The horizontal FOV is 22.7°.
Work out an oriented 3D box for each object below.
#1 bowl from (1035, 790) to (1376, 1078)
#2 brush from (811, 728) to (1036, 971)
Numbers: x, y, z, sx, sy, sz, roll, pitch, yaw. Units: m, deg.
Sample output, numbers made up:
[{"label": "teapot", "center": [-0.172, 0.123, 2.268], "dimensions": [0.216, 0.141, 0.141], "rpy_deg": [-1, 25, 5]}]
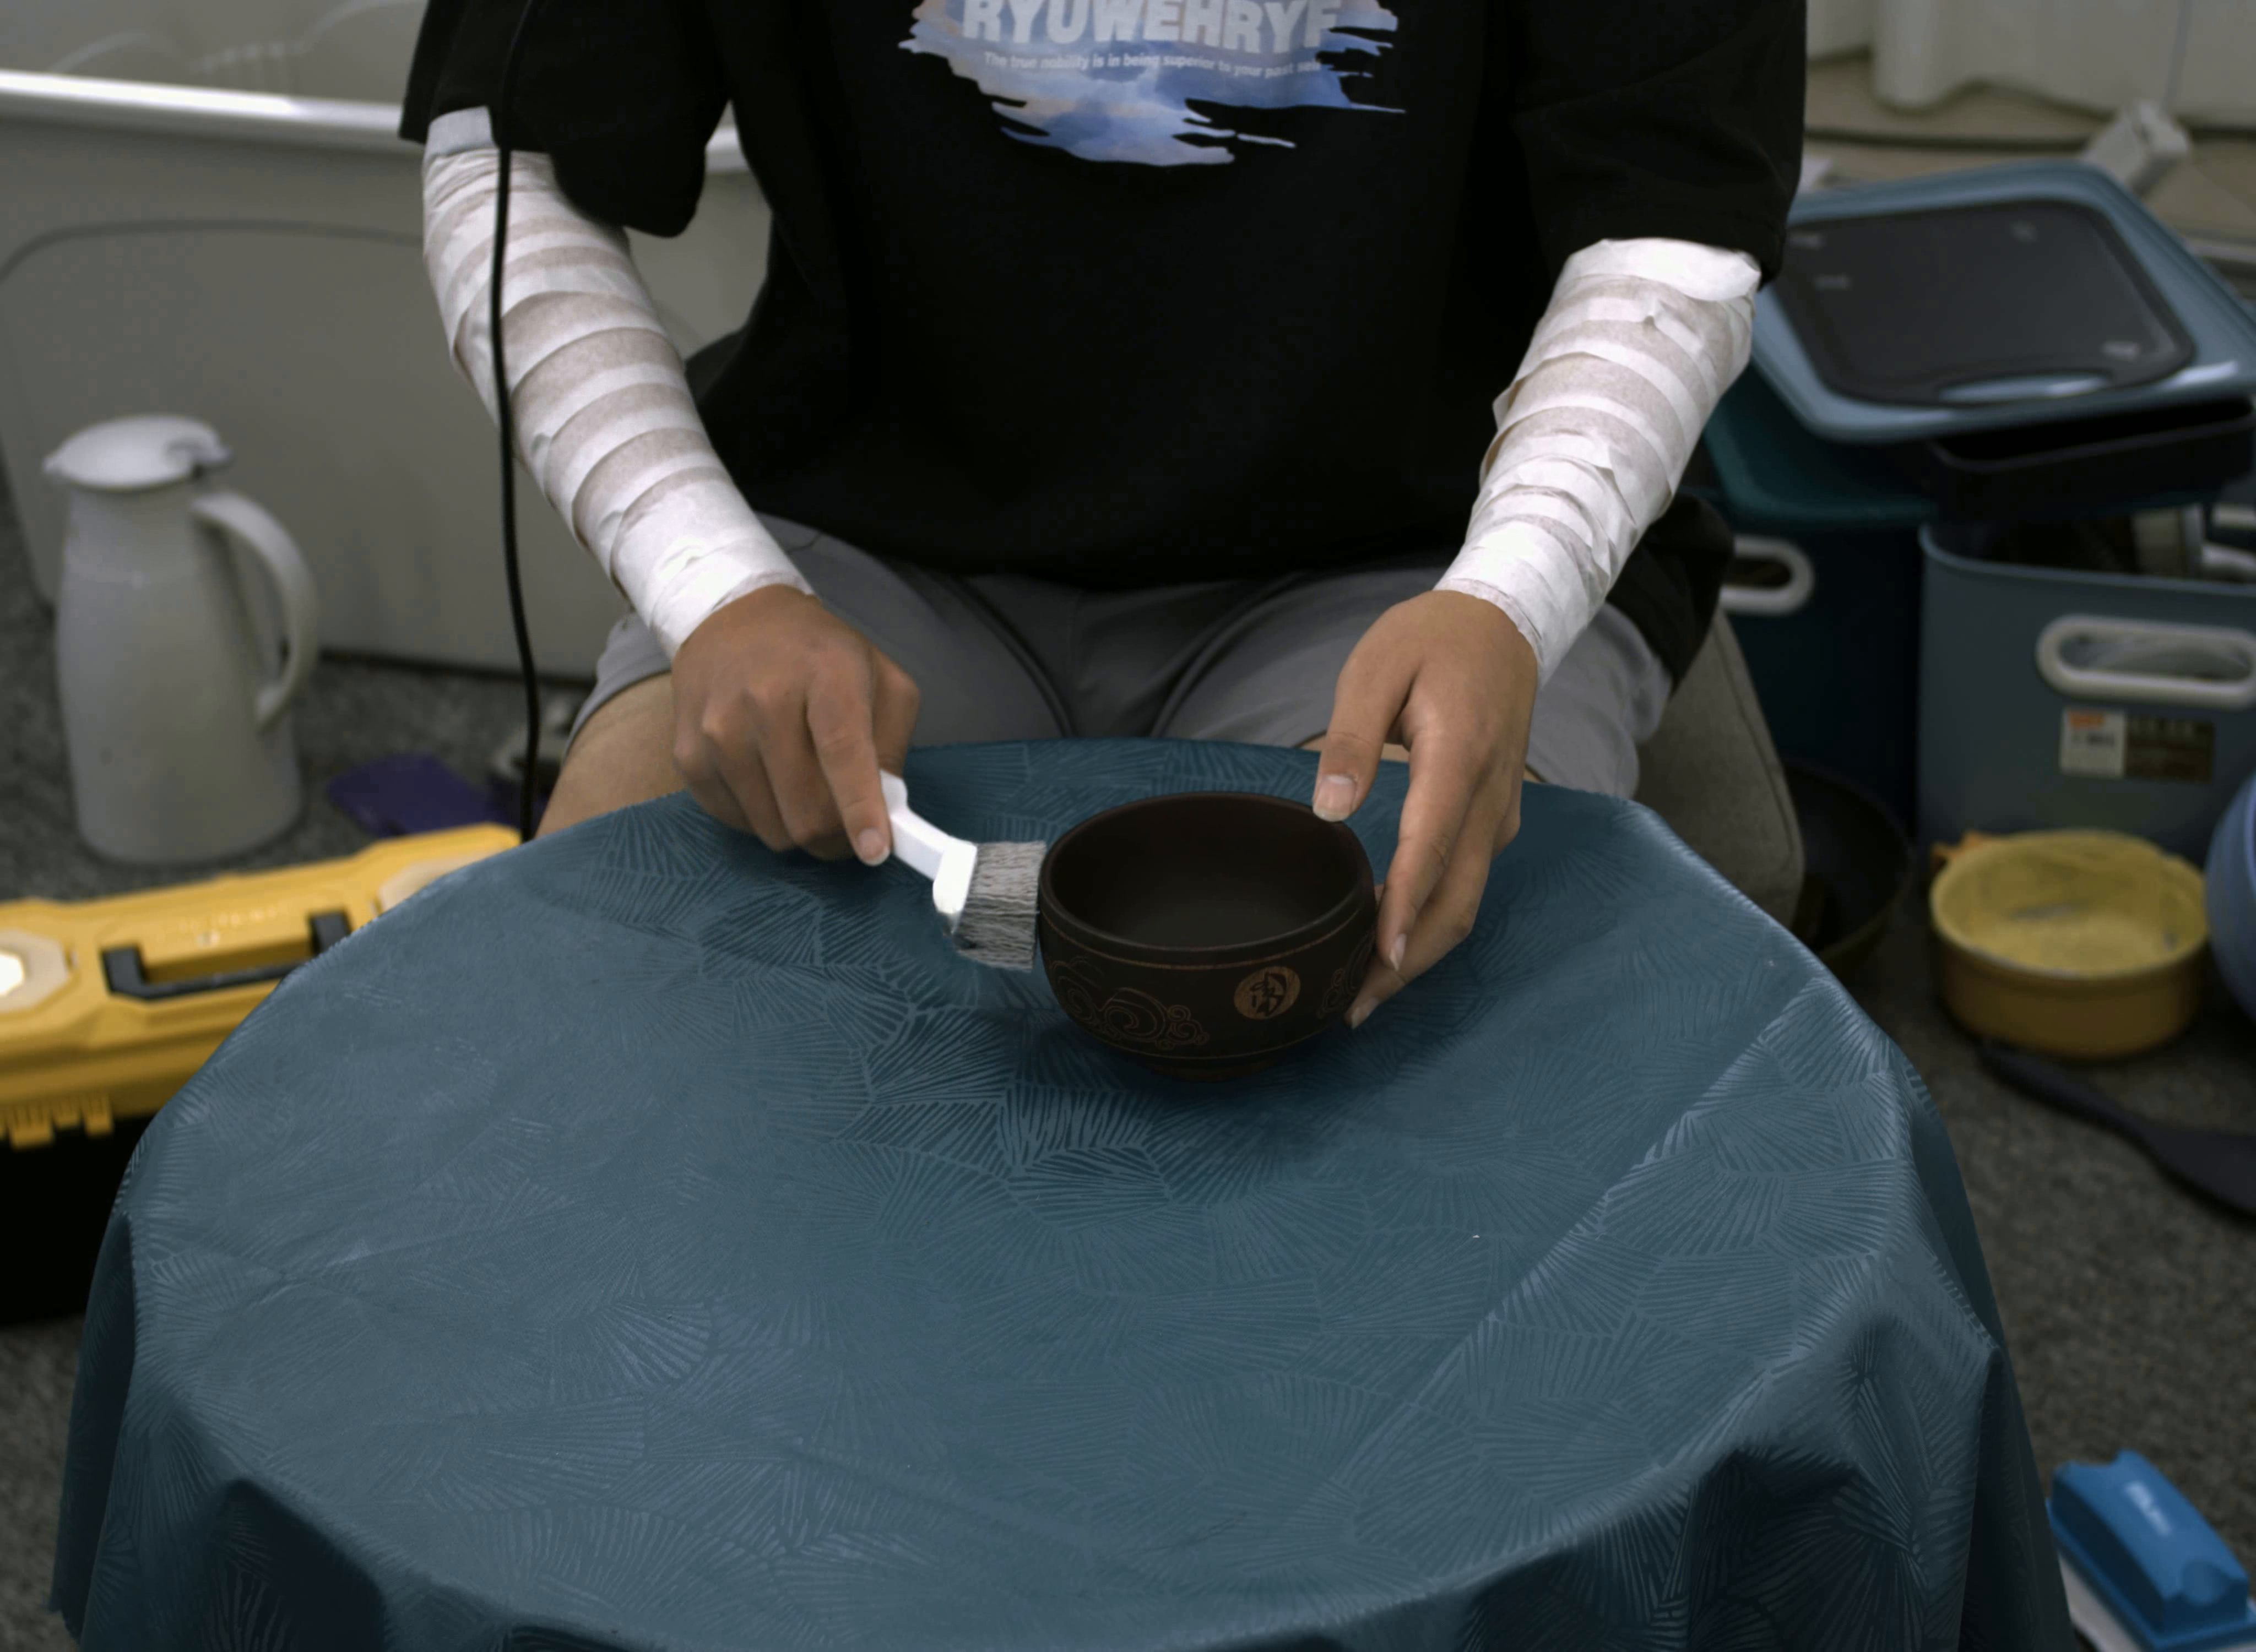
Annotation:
[{"label": "bowl", "center": [0.027, 0.043, 1.933], "dimensions": [0.117, 0.069, 0.120], "rpy_deg": [-3, 25, 2]}, {"label": "brush", "center": [-0.071, 0.004, 2.022], "dimensions": [0.050, 0.034, 0.245], "rpy_deg": [2, 15, -14]}]
